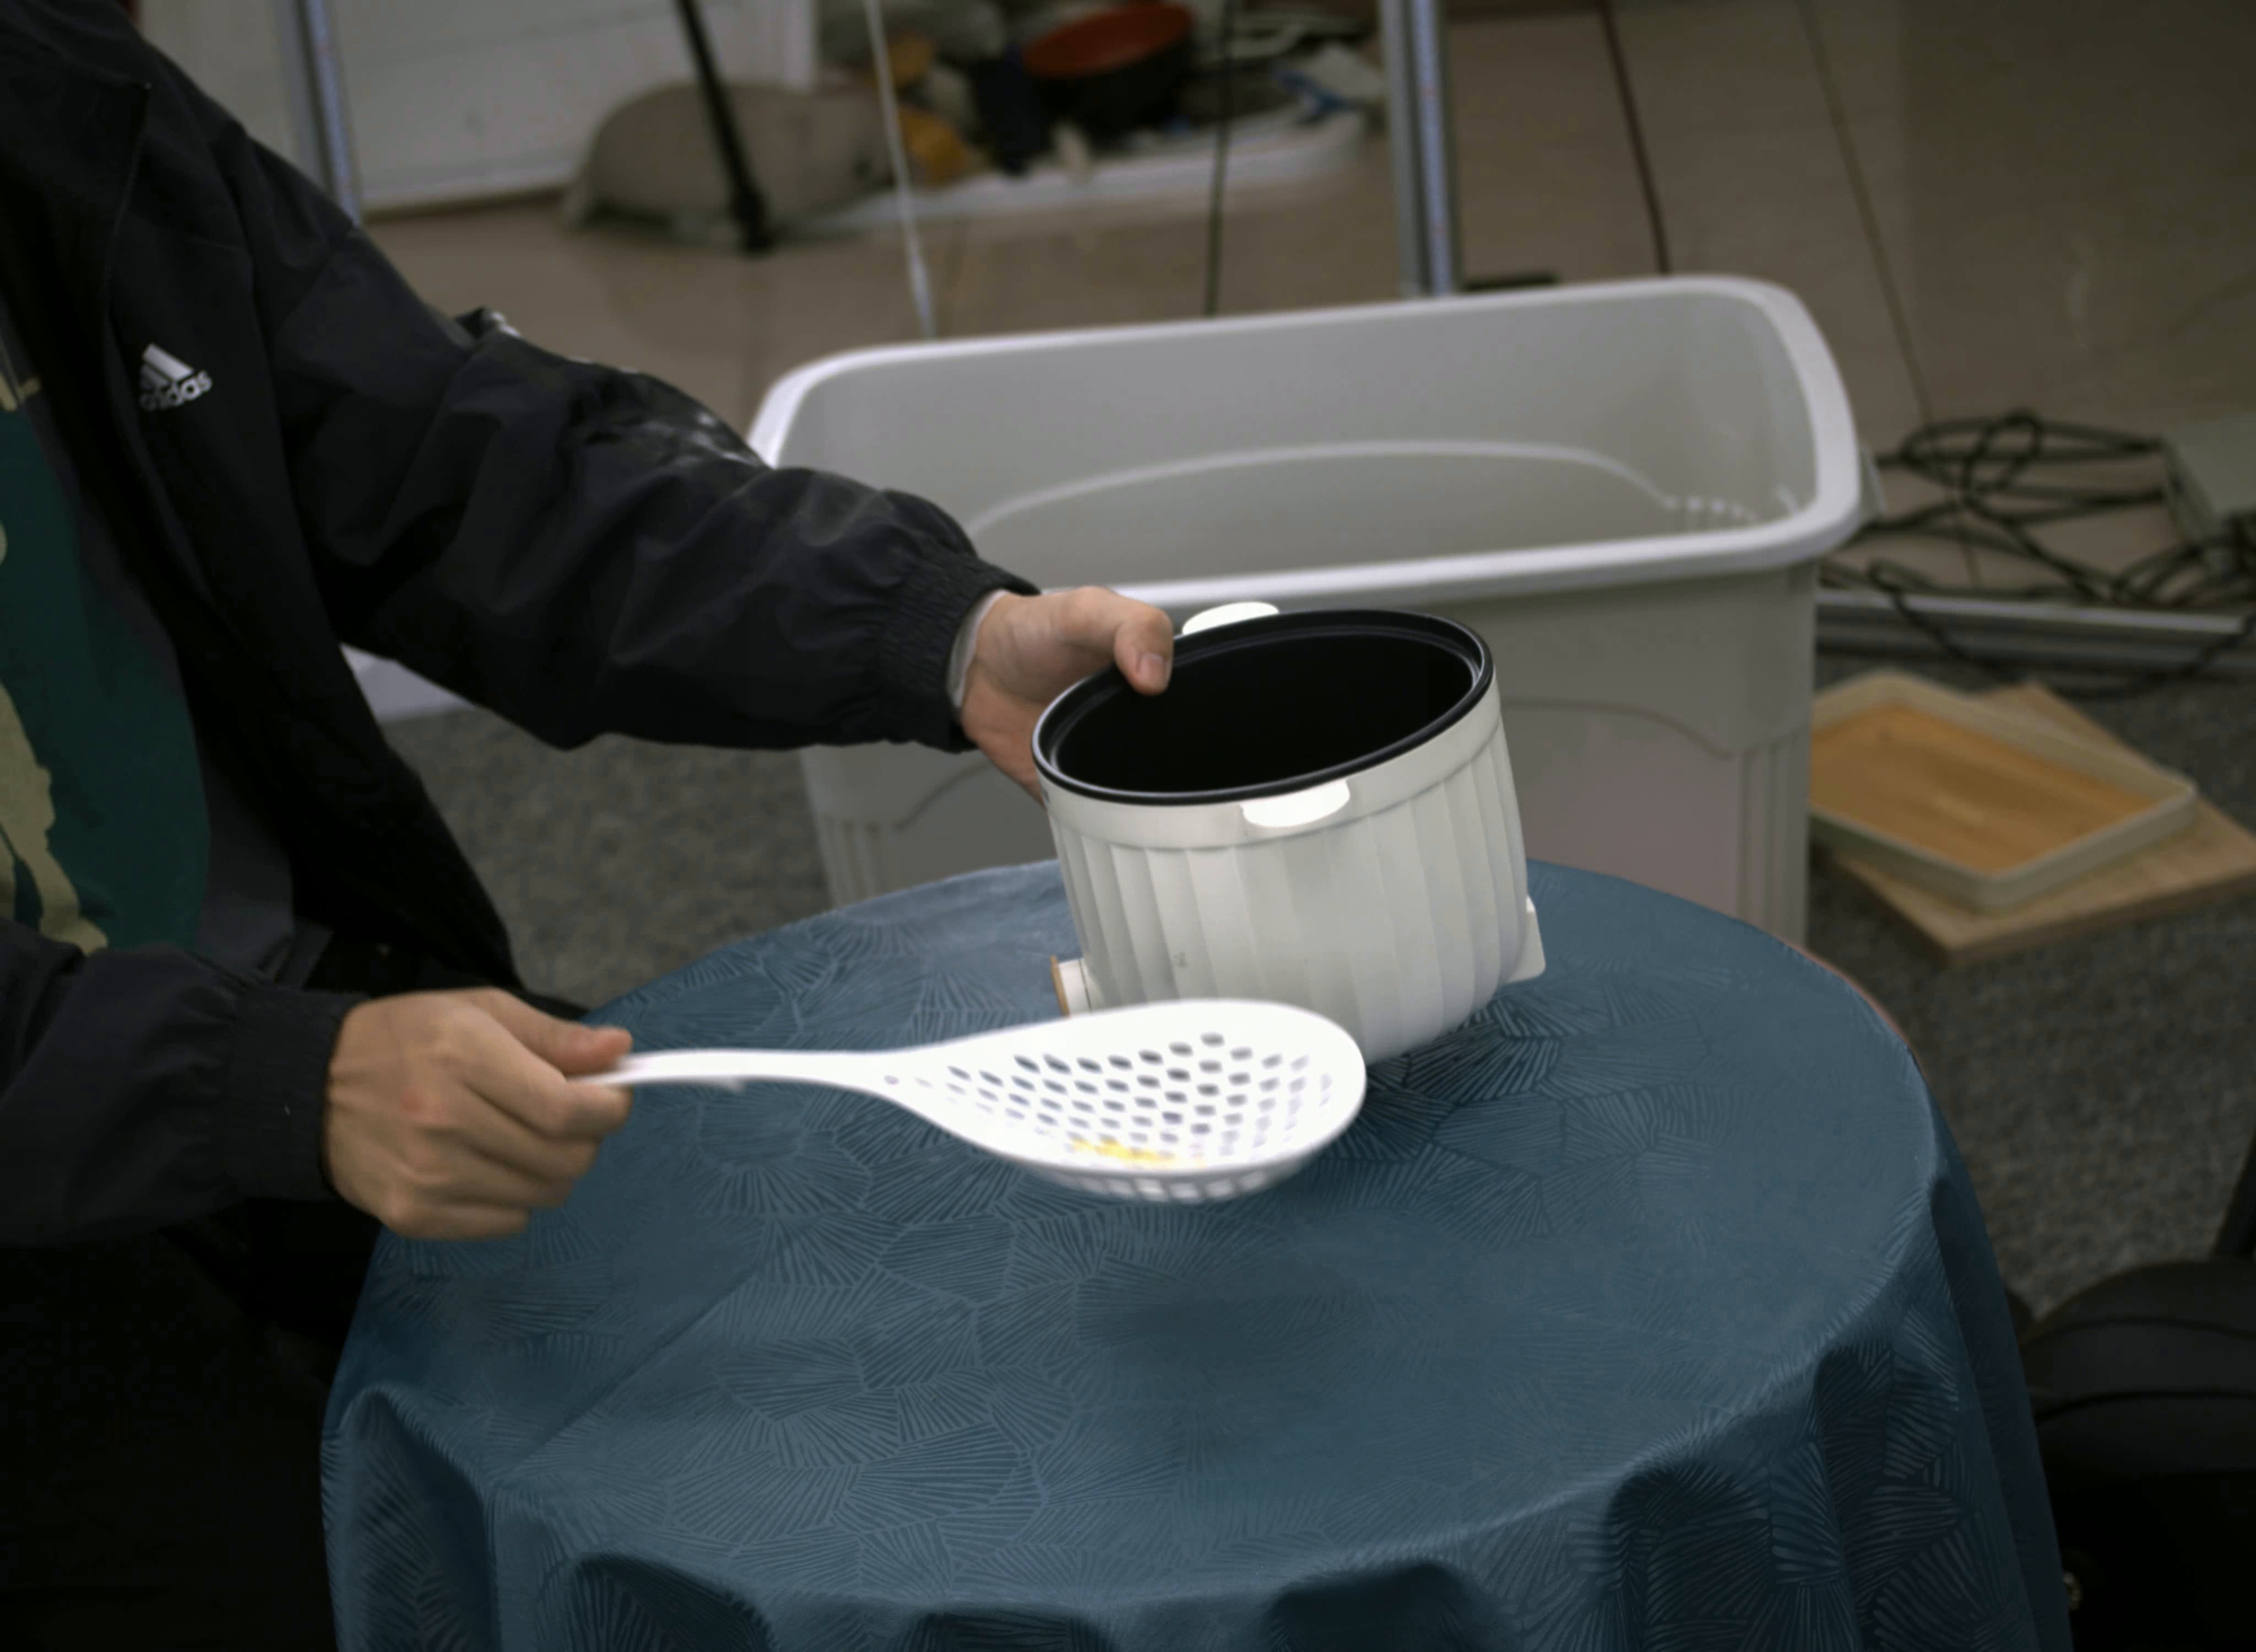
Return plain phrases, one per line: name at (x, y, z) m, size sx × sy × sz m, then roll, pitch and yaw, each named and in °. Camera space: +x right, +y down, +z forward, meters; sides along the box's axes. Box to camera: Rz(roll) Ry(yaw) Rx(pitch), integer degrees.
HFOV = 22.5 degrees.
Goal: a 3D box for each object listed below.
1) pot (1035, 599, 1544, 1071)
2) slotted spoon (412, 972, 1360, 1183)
pot at (0.059, 0.011, 2.190) m, size 0.190 × 0.145 × 0.237 m, roll -10°, pitch 21°, yaw -3°
slotted spoon at (-0.089, 0.094, 2.039) m, size 0.347 × 0.051 × 0.135 m, roll 4°, pitch 26°, yaw 10°
